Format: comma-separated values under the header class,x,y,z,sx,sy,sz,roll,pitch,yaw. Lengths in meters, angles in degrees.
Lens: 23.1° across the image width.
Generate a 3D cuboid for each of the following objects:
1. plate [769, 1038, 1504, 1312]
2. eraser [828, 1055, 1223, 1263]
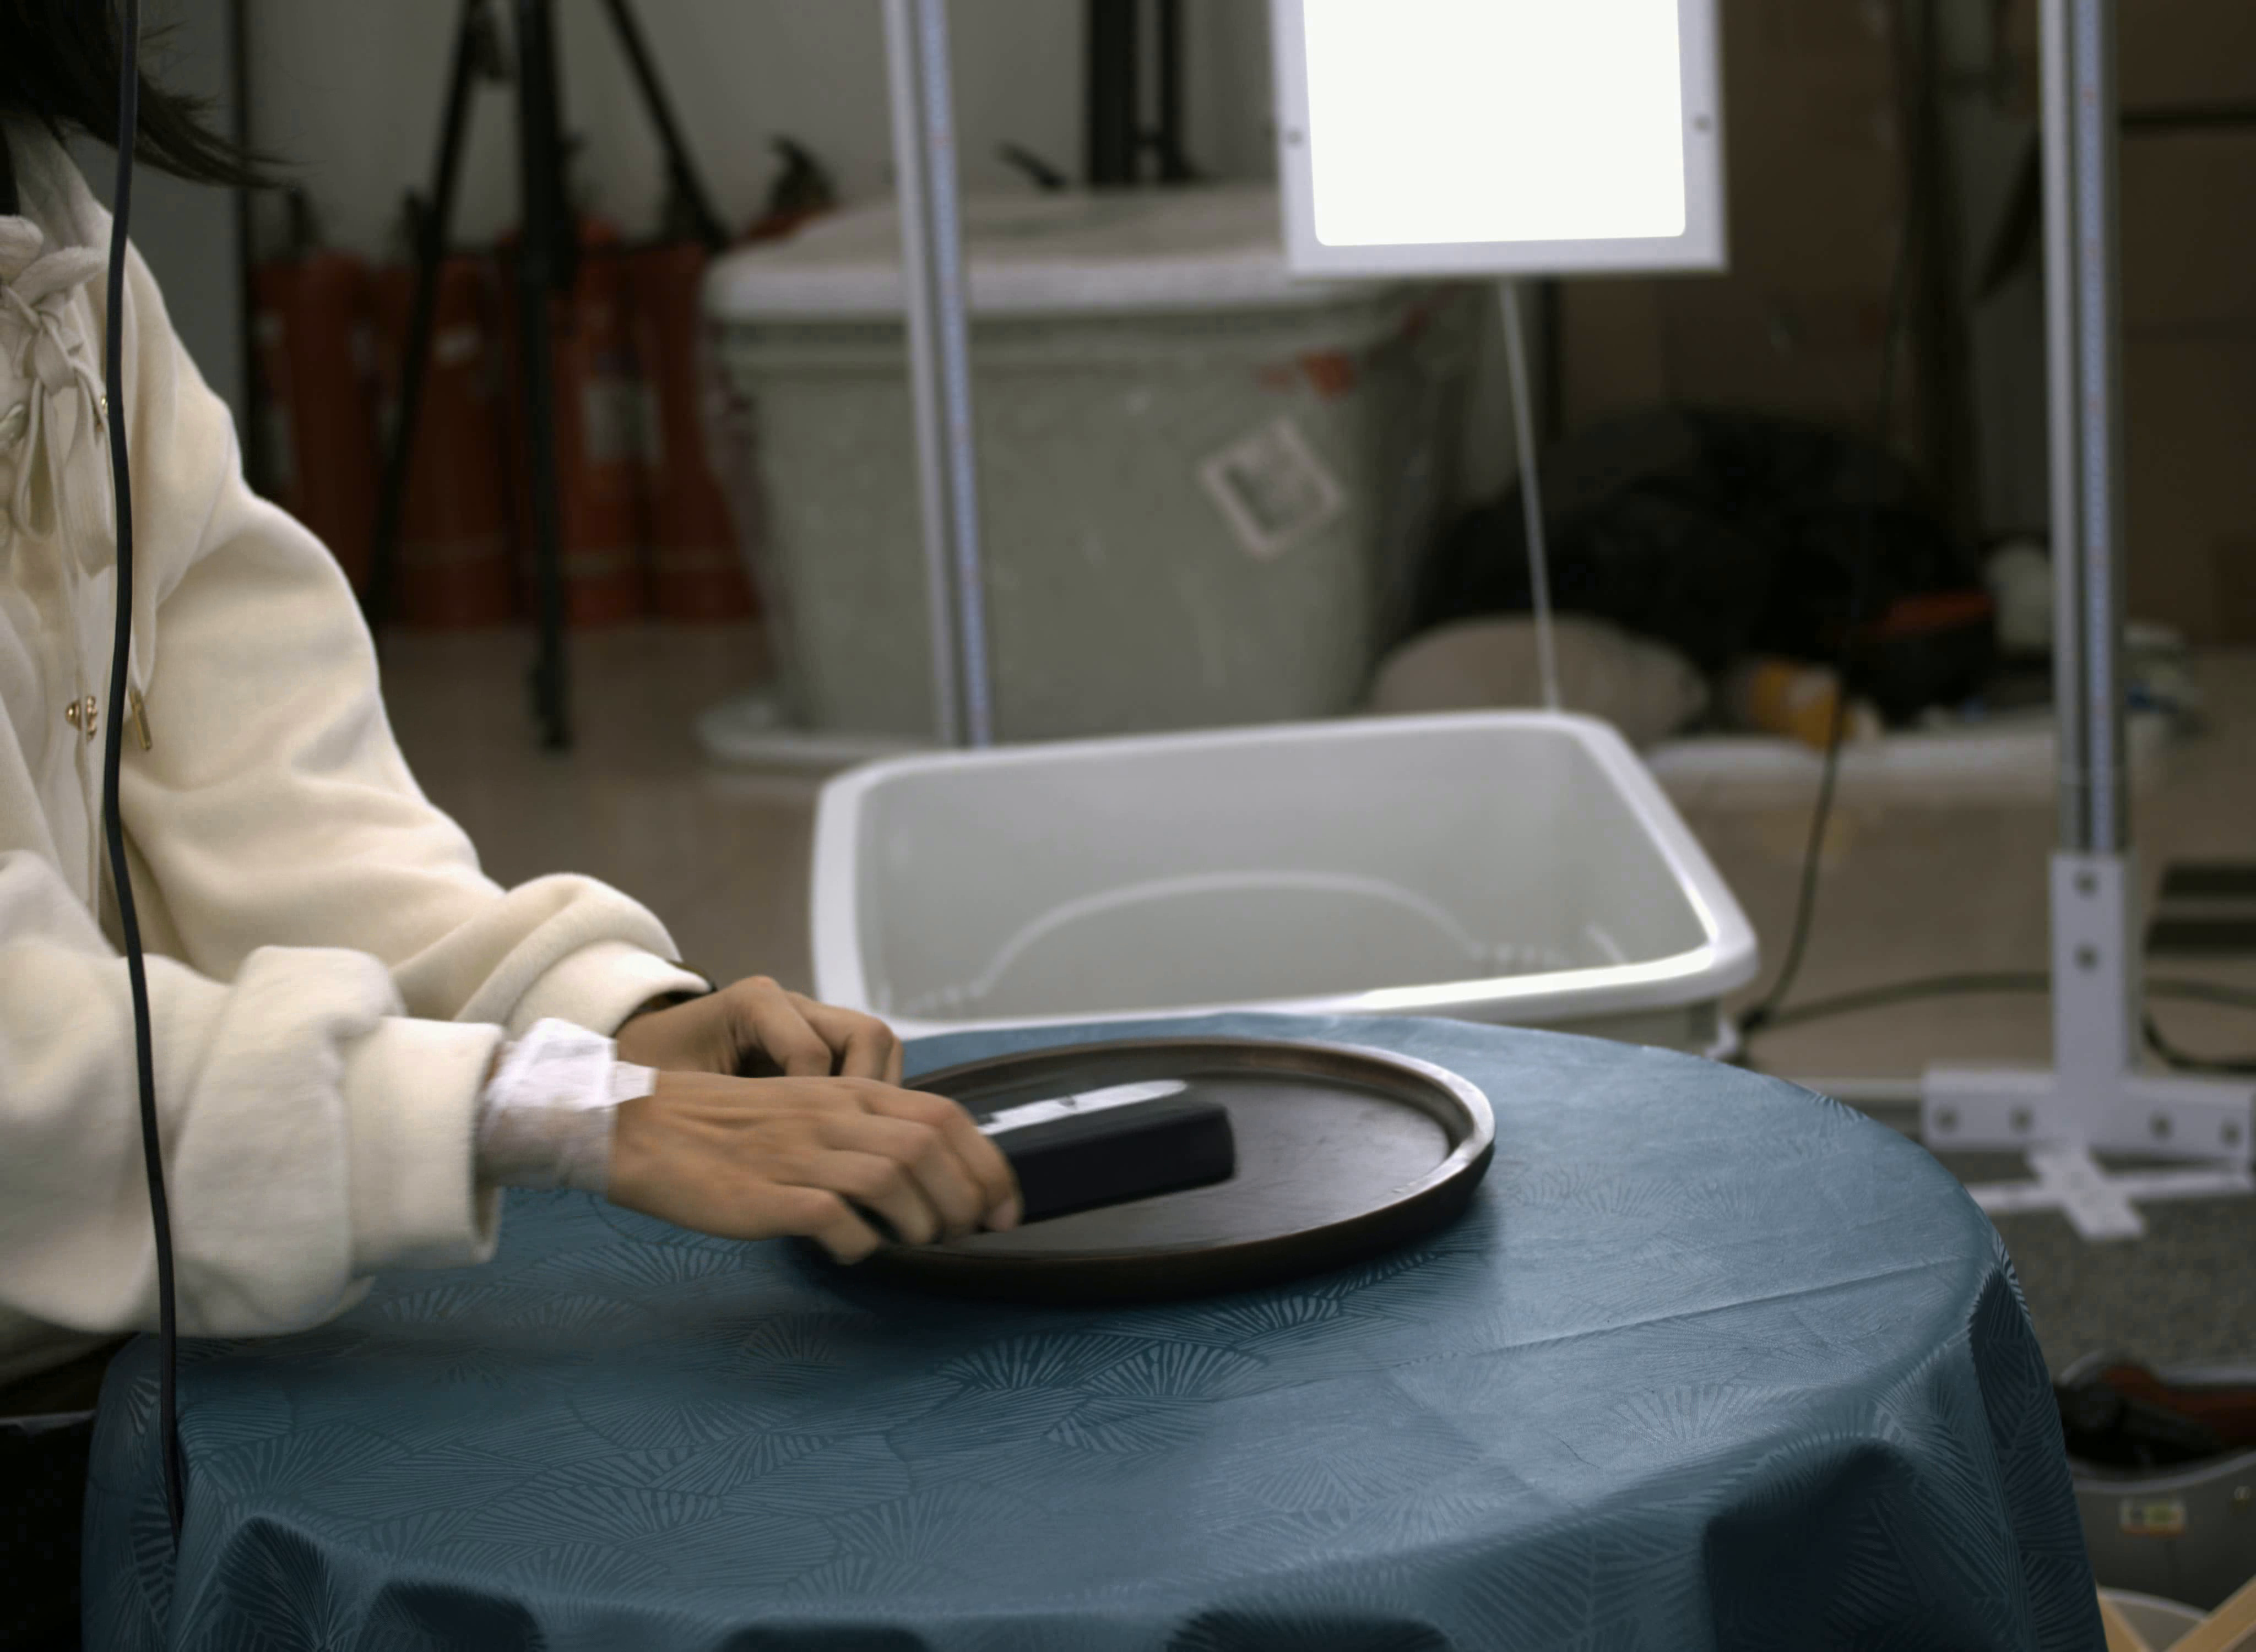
class,x,y,z,sx,sy,sz,roll,pitch,yaw
plate,0.003,0.117,1.887,0.254,0.029,0.254,-4,14,0
eraser,-0.032,0.107,1.780,0.125,0.030,0.053,-14,17,-2
